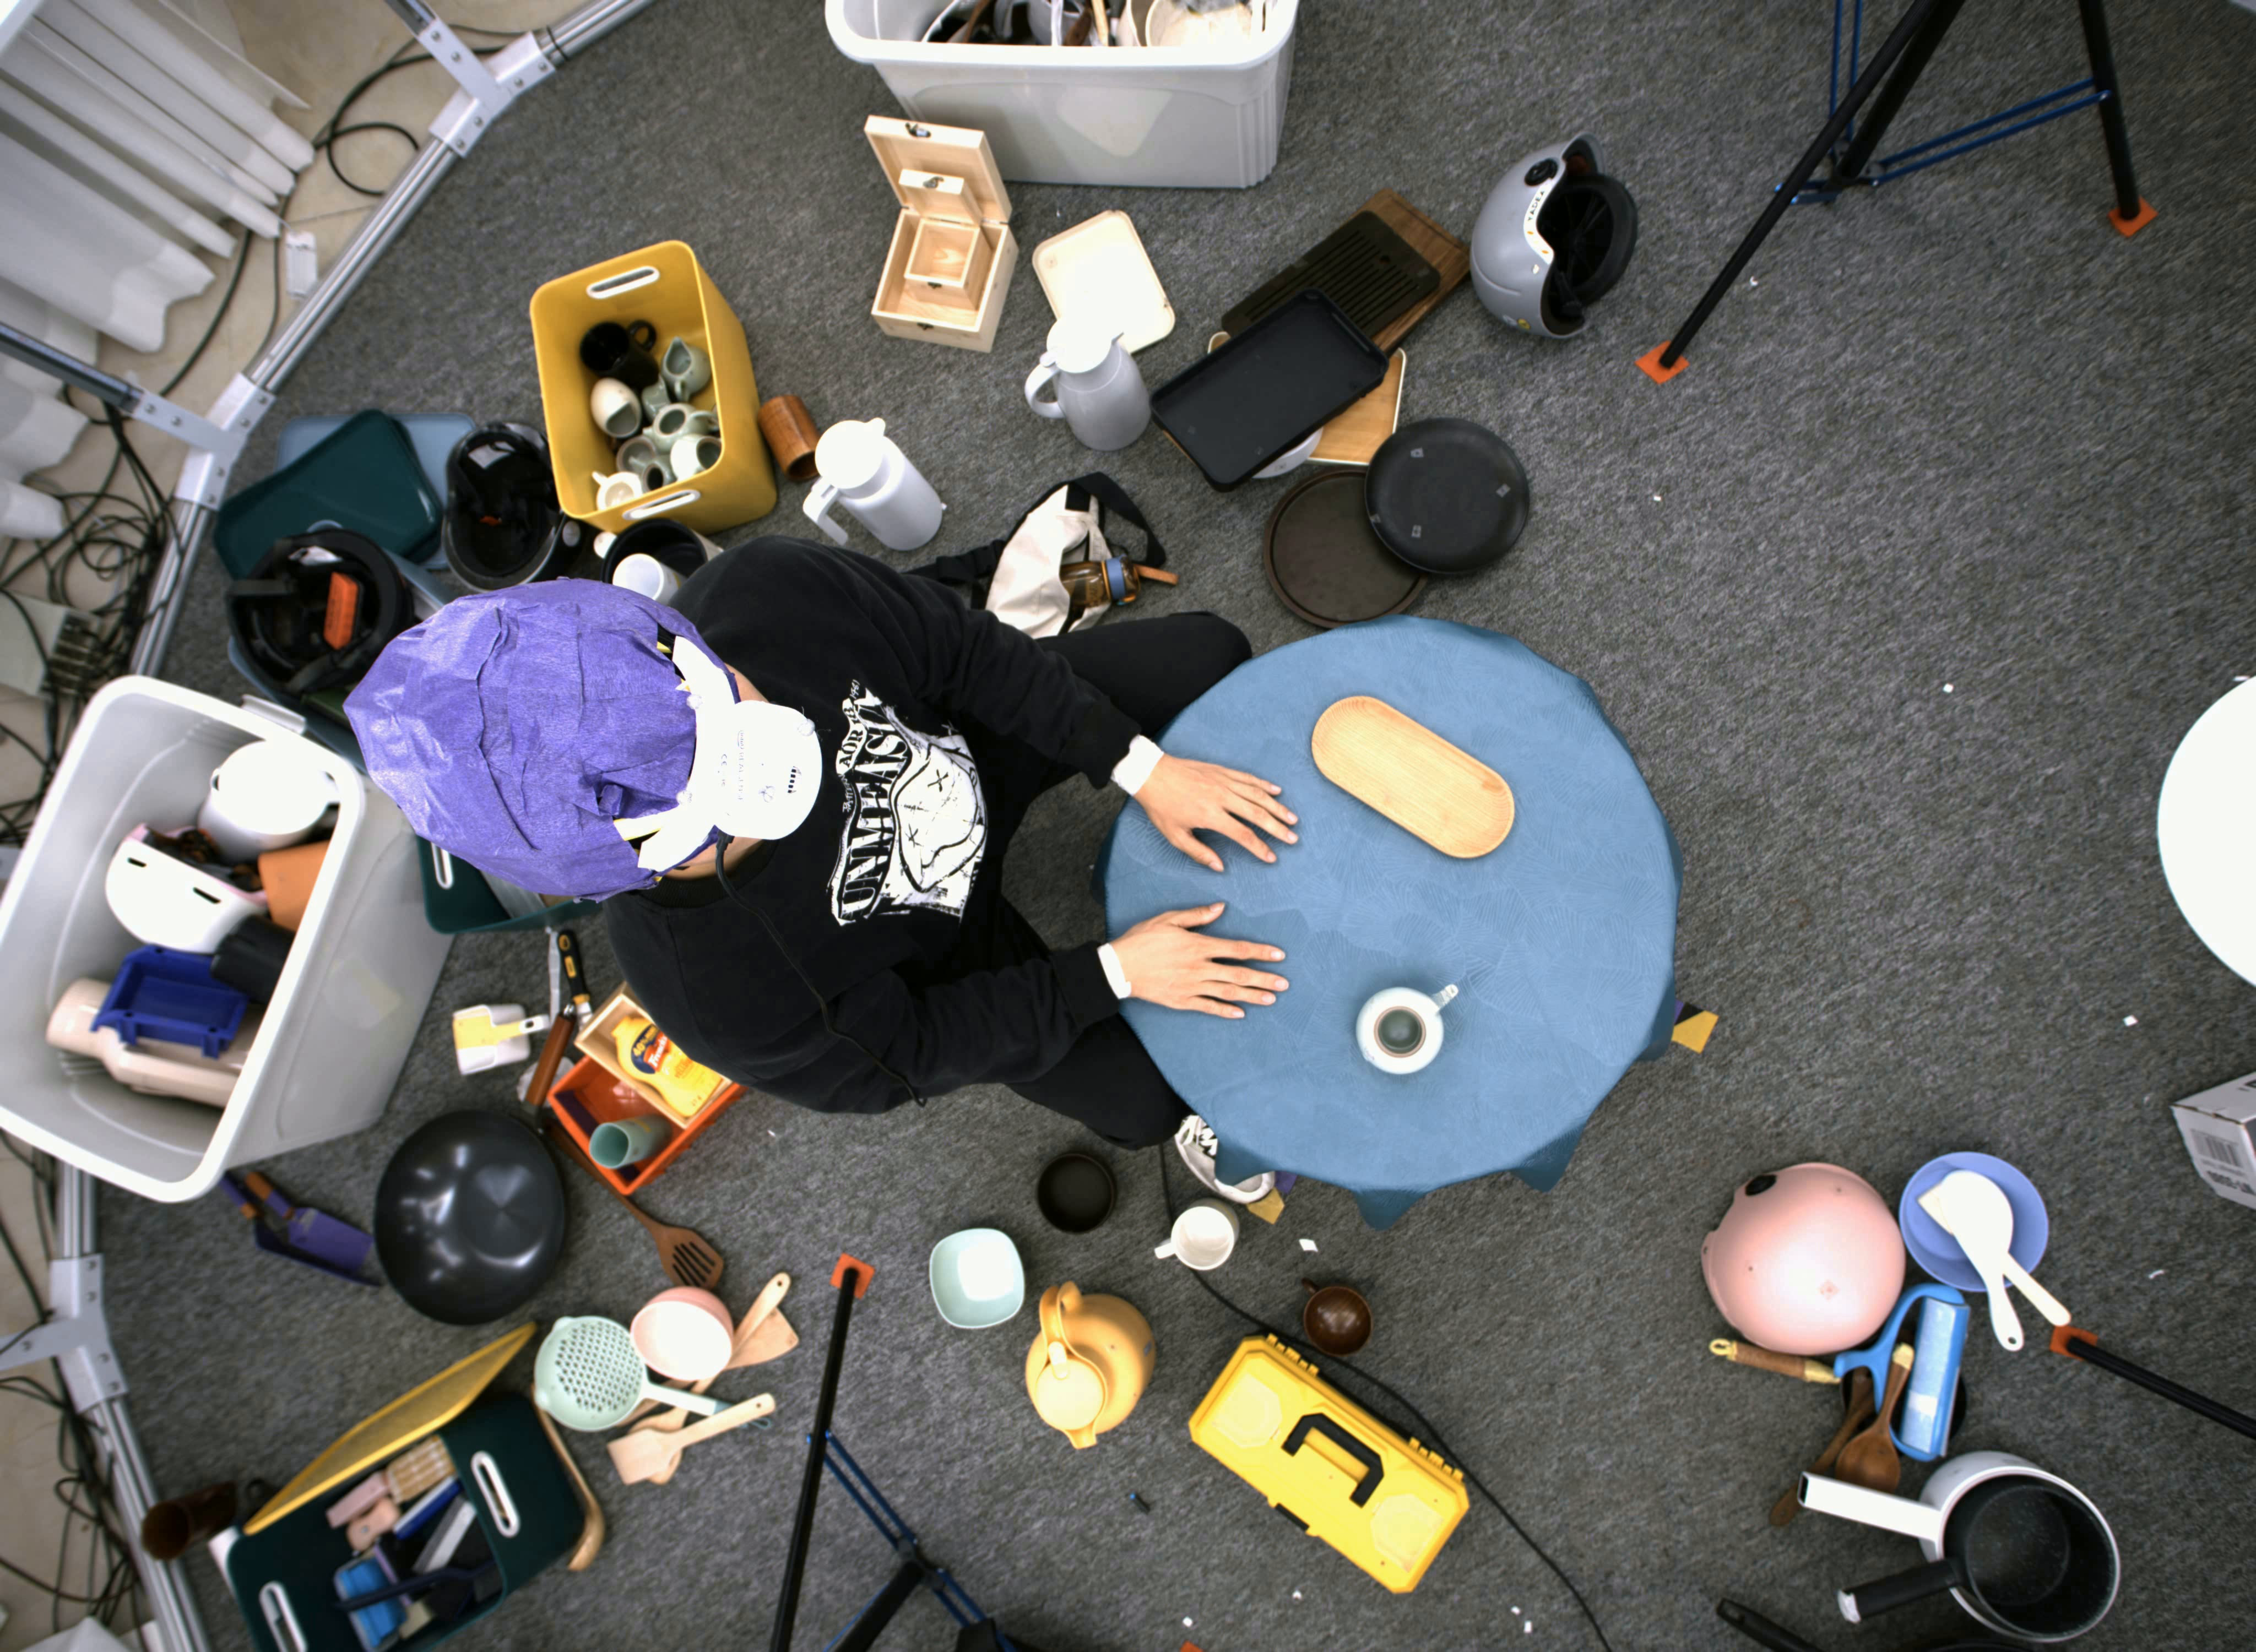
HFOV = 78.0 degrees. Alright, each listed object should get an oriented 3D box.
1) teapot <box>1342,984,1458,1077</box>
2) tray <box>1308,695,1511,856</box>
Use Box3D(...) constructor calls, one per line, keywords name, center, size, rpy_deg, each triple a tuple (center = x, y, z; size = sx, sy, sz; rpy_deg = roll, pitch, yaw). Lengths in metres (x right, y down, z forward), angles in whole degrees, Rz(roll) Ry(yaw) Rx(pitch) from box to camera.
Box3D(name="teapot", center=(0.278, 0.207, 1.417), size=(0.144, 0.075, 0.088), rpy_deg=(-37, 80, 5))
Box3D(name="tray", center=(0.297, -0.055, 1.454), size=(0.230, 0.020, 0.102), rpy_deg=(33, 92, 12))
